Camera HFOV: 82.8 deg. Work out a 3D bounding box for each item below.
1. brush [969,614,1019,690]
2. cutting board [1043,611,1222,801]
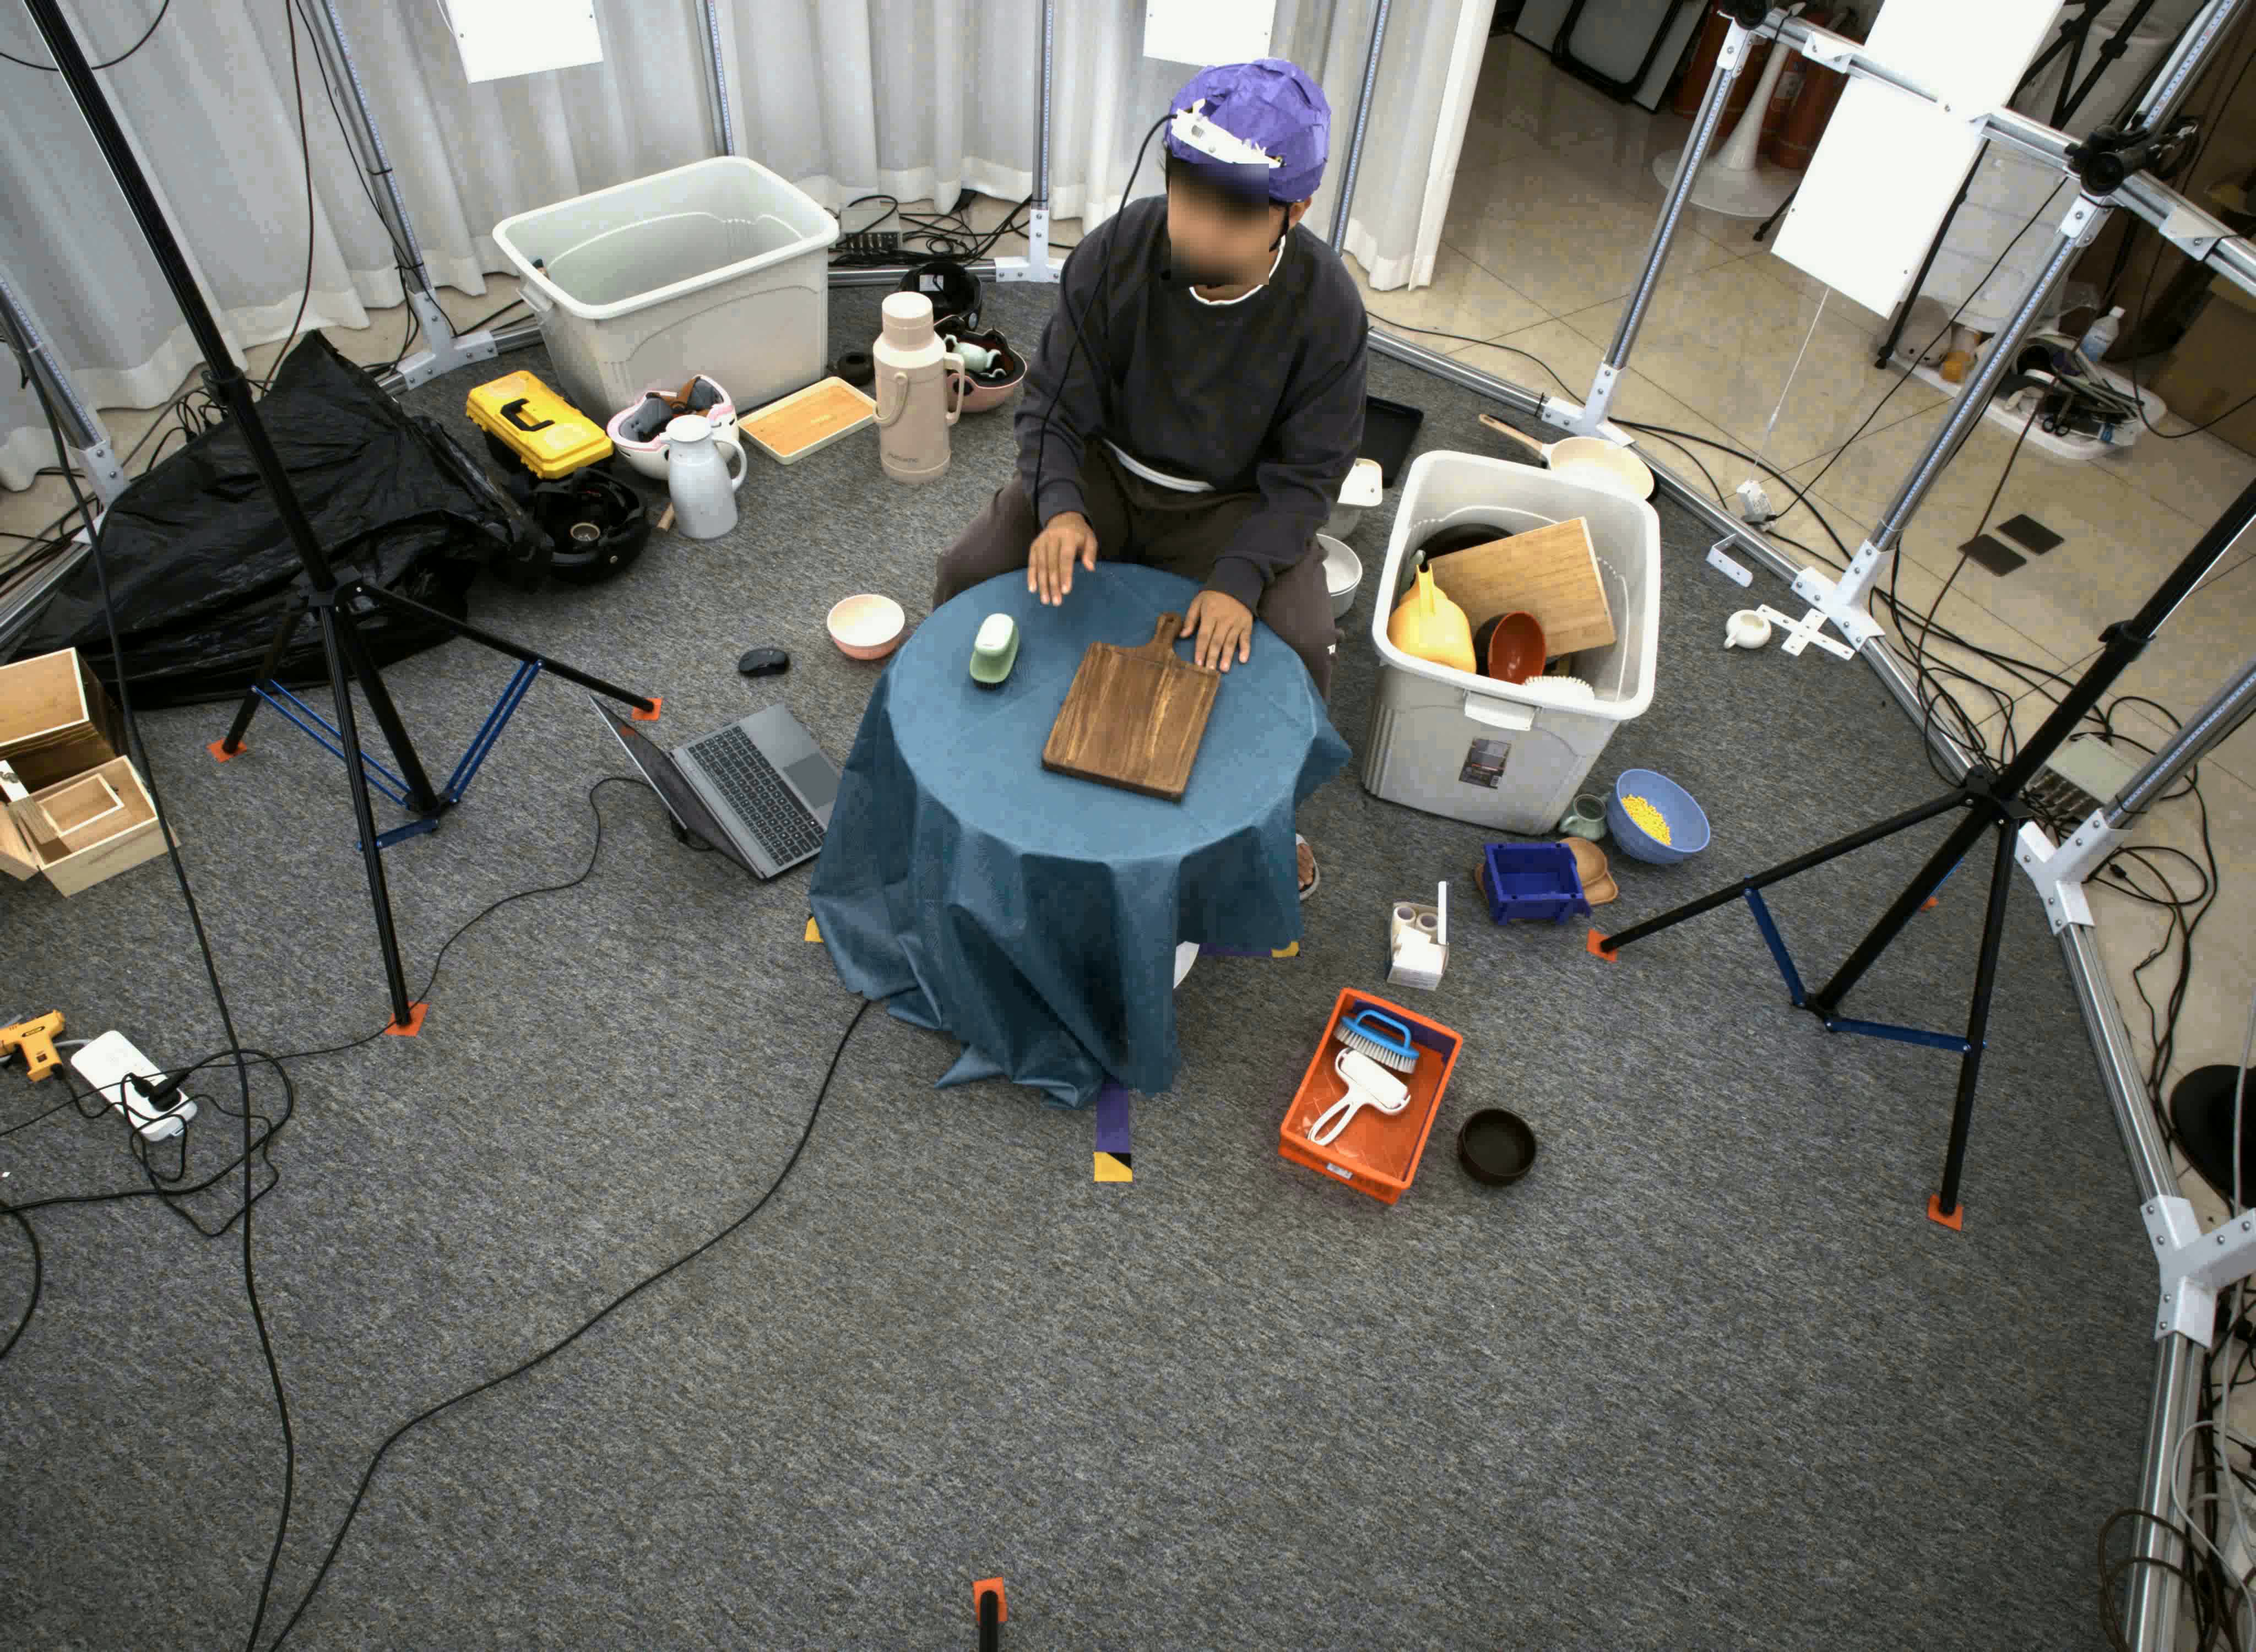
[{"bbox_3d":[-0.190,-0.250,1.834,0.059,0.074,0.125,9,35,2],"label":"brush"},{"bbox_3d":[0.024,-0.187,1.816,0.201,0.022,0.360,14,49,7],"label":"cutting board"}]
